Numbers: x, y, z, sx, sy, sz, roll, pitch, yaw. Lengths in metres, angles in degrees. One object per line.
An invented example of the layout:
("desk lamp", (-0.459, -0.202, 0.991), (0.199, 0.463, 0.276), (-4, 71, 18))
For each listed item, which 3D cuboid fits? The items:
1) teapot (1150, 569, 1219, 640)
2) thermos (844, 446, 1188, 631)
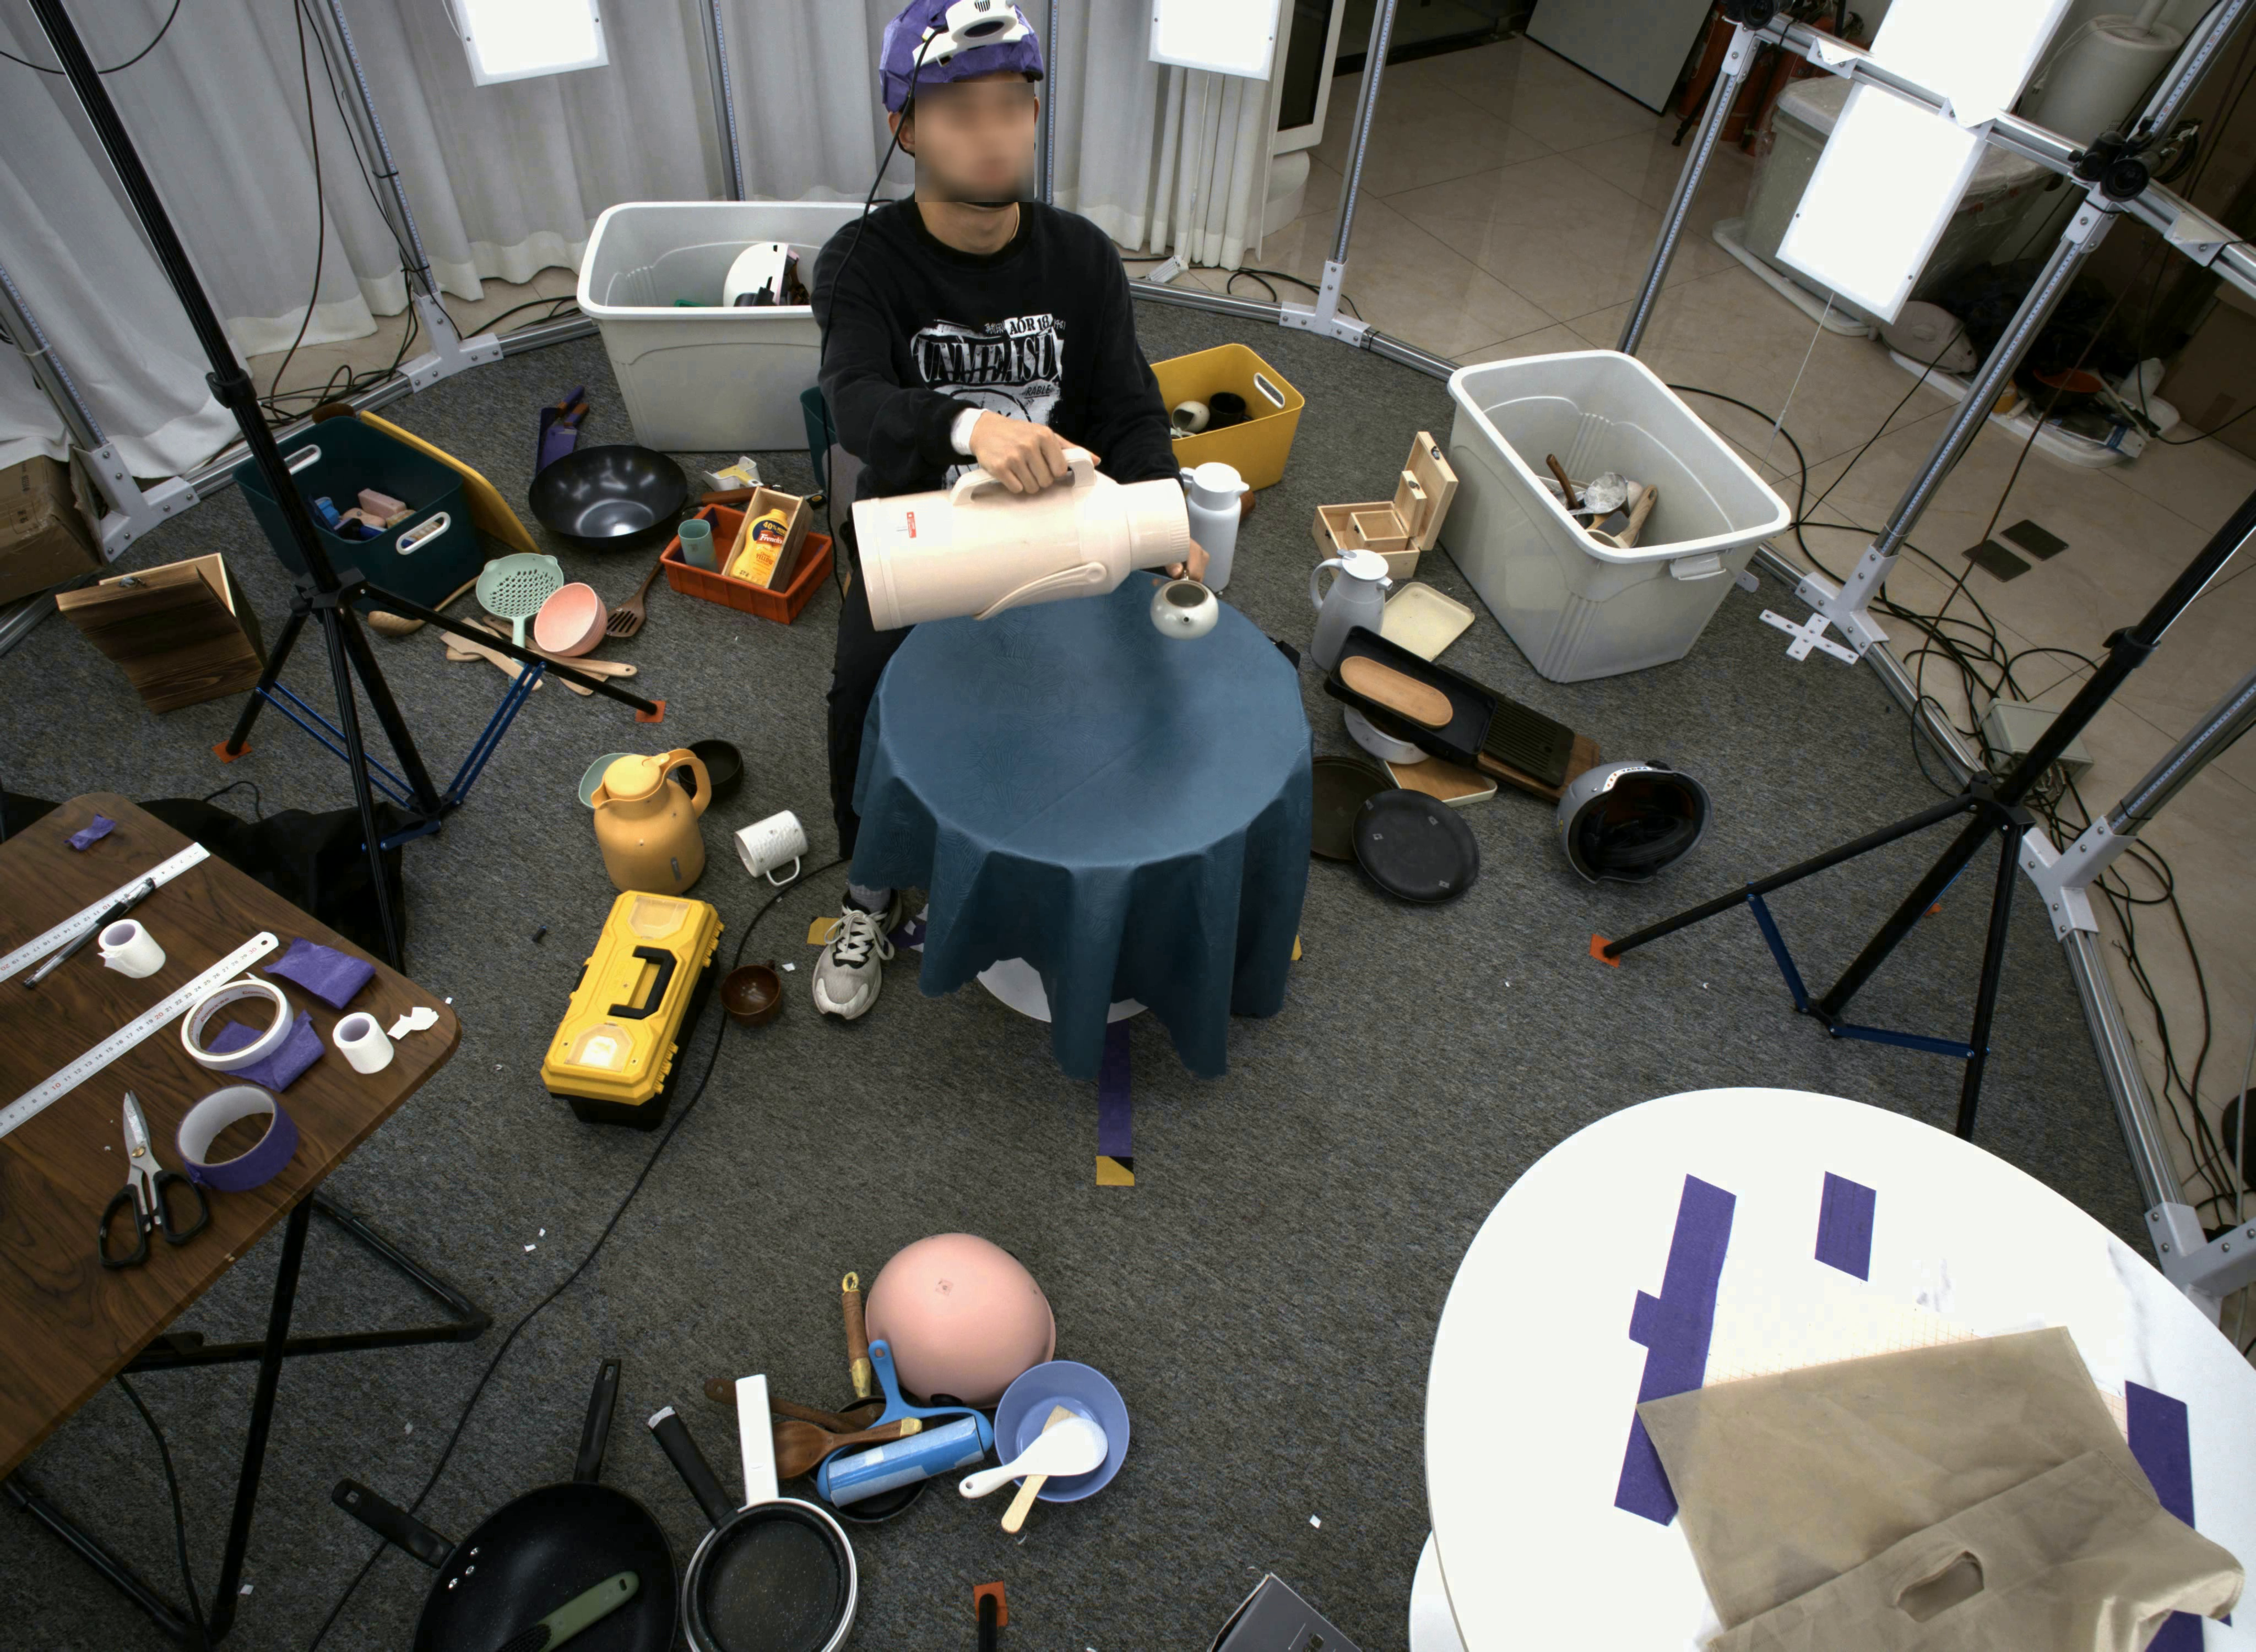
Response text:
("teapot", (0.075, -0.296, 1.729), (0.092, 0.058, 0.131), (-2, 46, 1))
("thermos", (-0.134, -0.360, 1.586), (0.406, 0.202, 0.180), (-9, 48, -4))
